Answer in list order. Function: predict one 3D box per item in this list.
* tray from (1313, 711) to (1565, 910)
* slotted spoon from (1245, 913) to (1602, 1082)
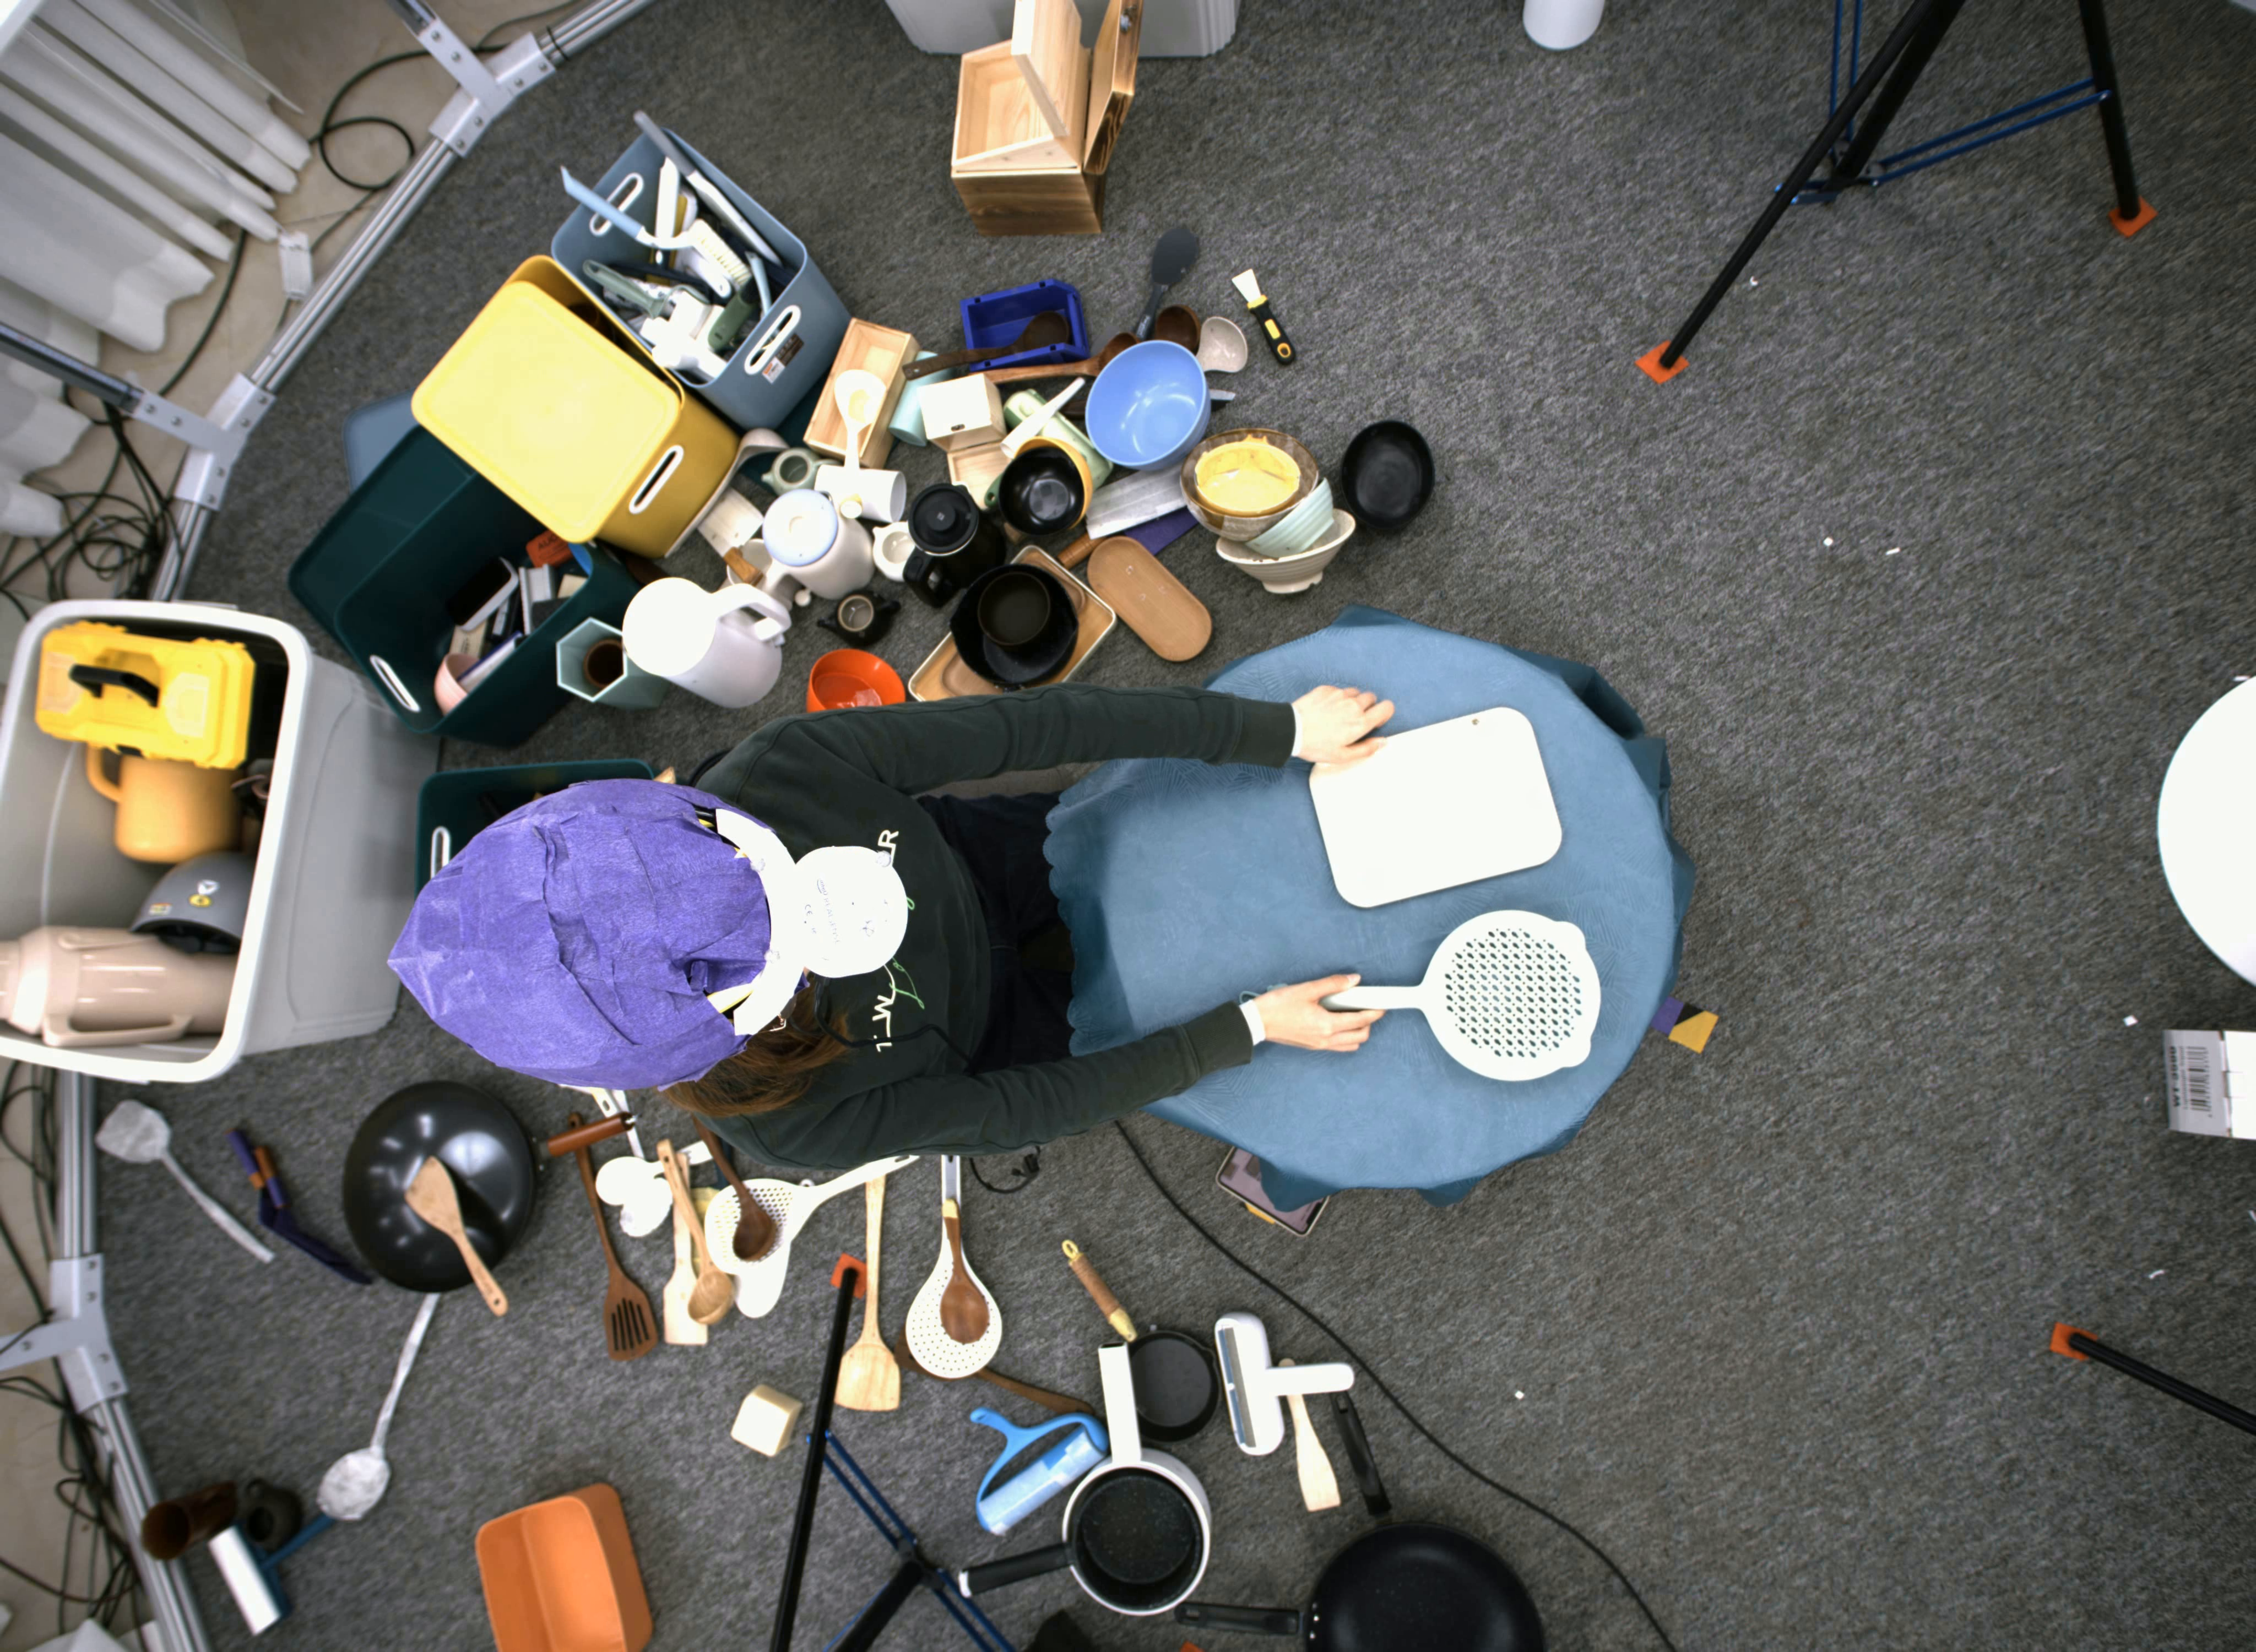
[{"bbox_3d":[0.326,-0.017,1.452,0.241,0.017,0.170,-15,83,10],"label":"tray"},{"bbox_3d":[0.297,0.176,1.420,0.360,0.075,0.168,-2,85,10],"label":"slotted spoon"}]
